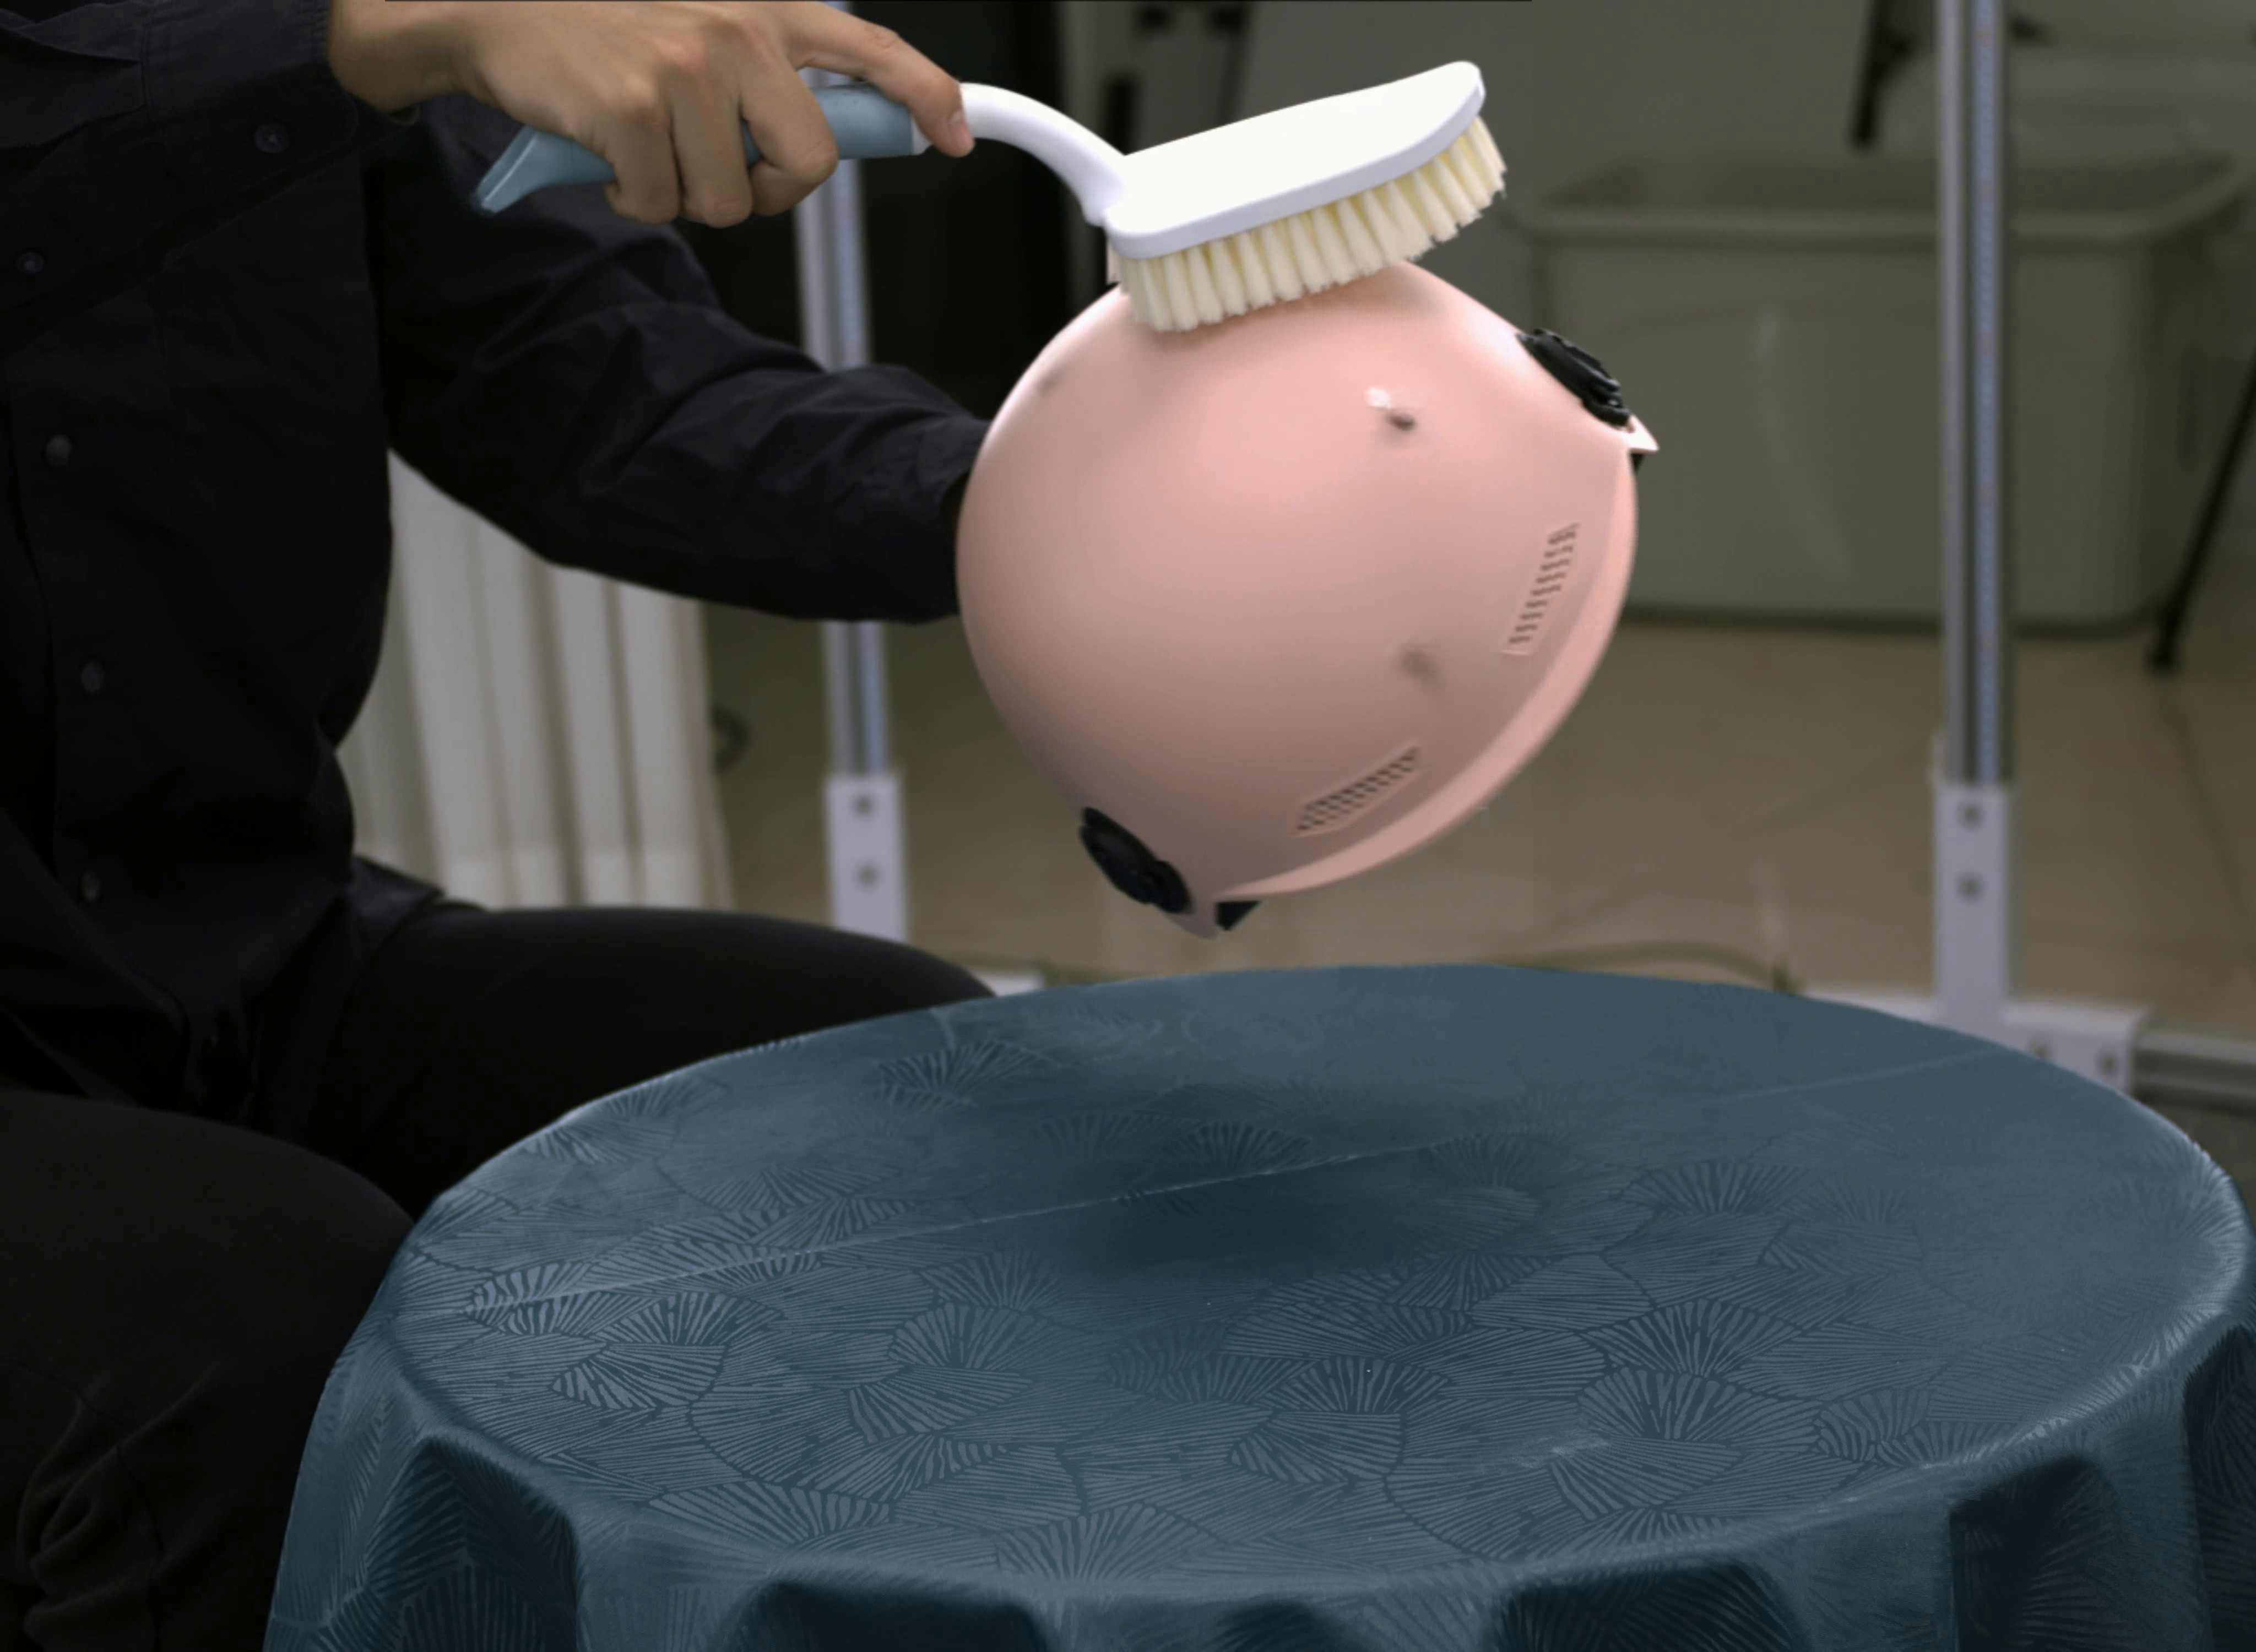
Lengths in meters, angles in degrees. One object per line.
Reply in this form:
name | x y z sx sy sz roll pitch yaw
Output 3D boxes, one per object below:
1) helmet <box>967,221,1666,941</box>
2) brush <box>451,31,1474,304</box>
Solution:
helmet | 0.043 -0.098 1.749 0.234 0.157 0.268 -48 26 0
brush | -0.050 -0.197 1.705 0.320 0.086 0.083 -6 -12 -4
